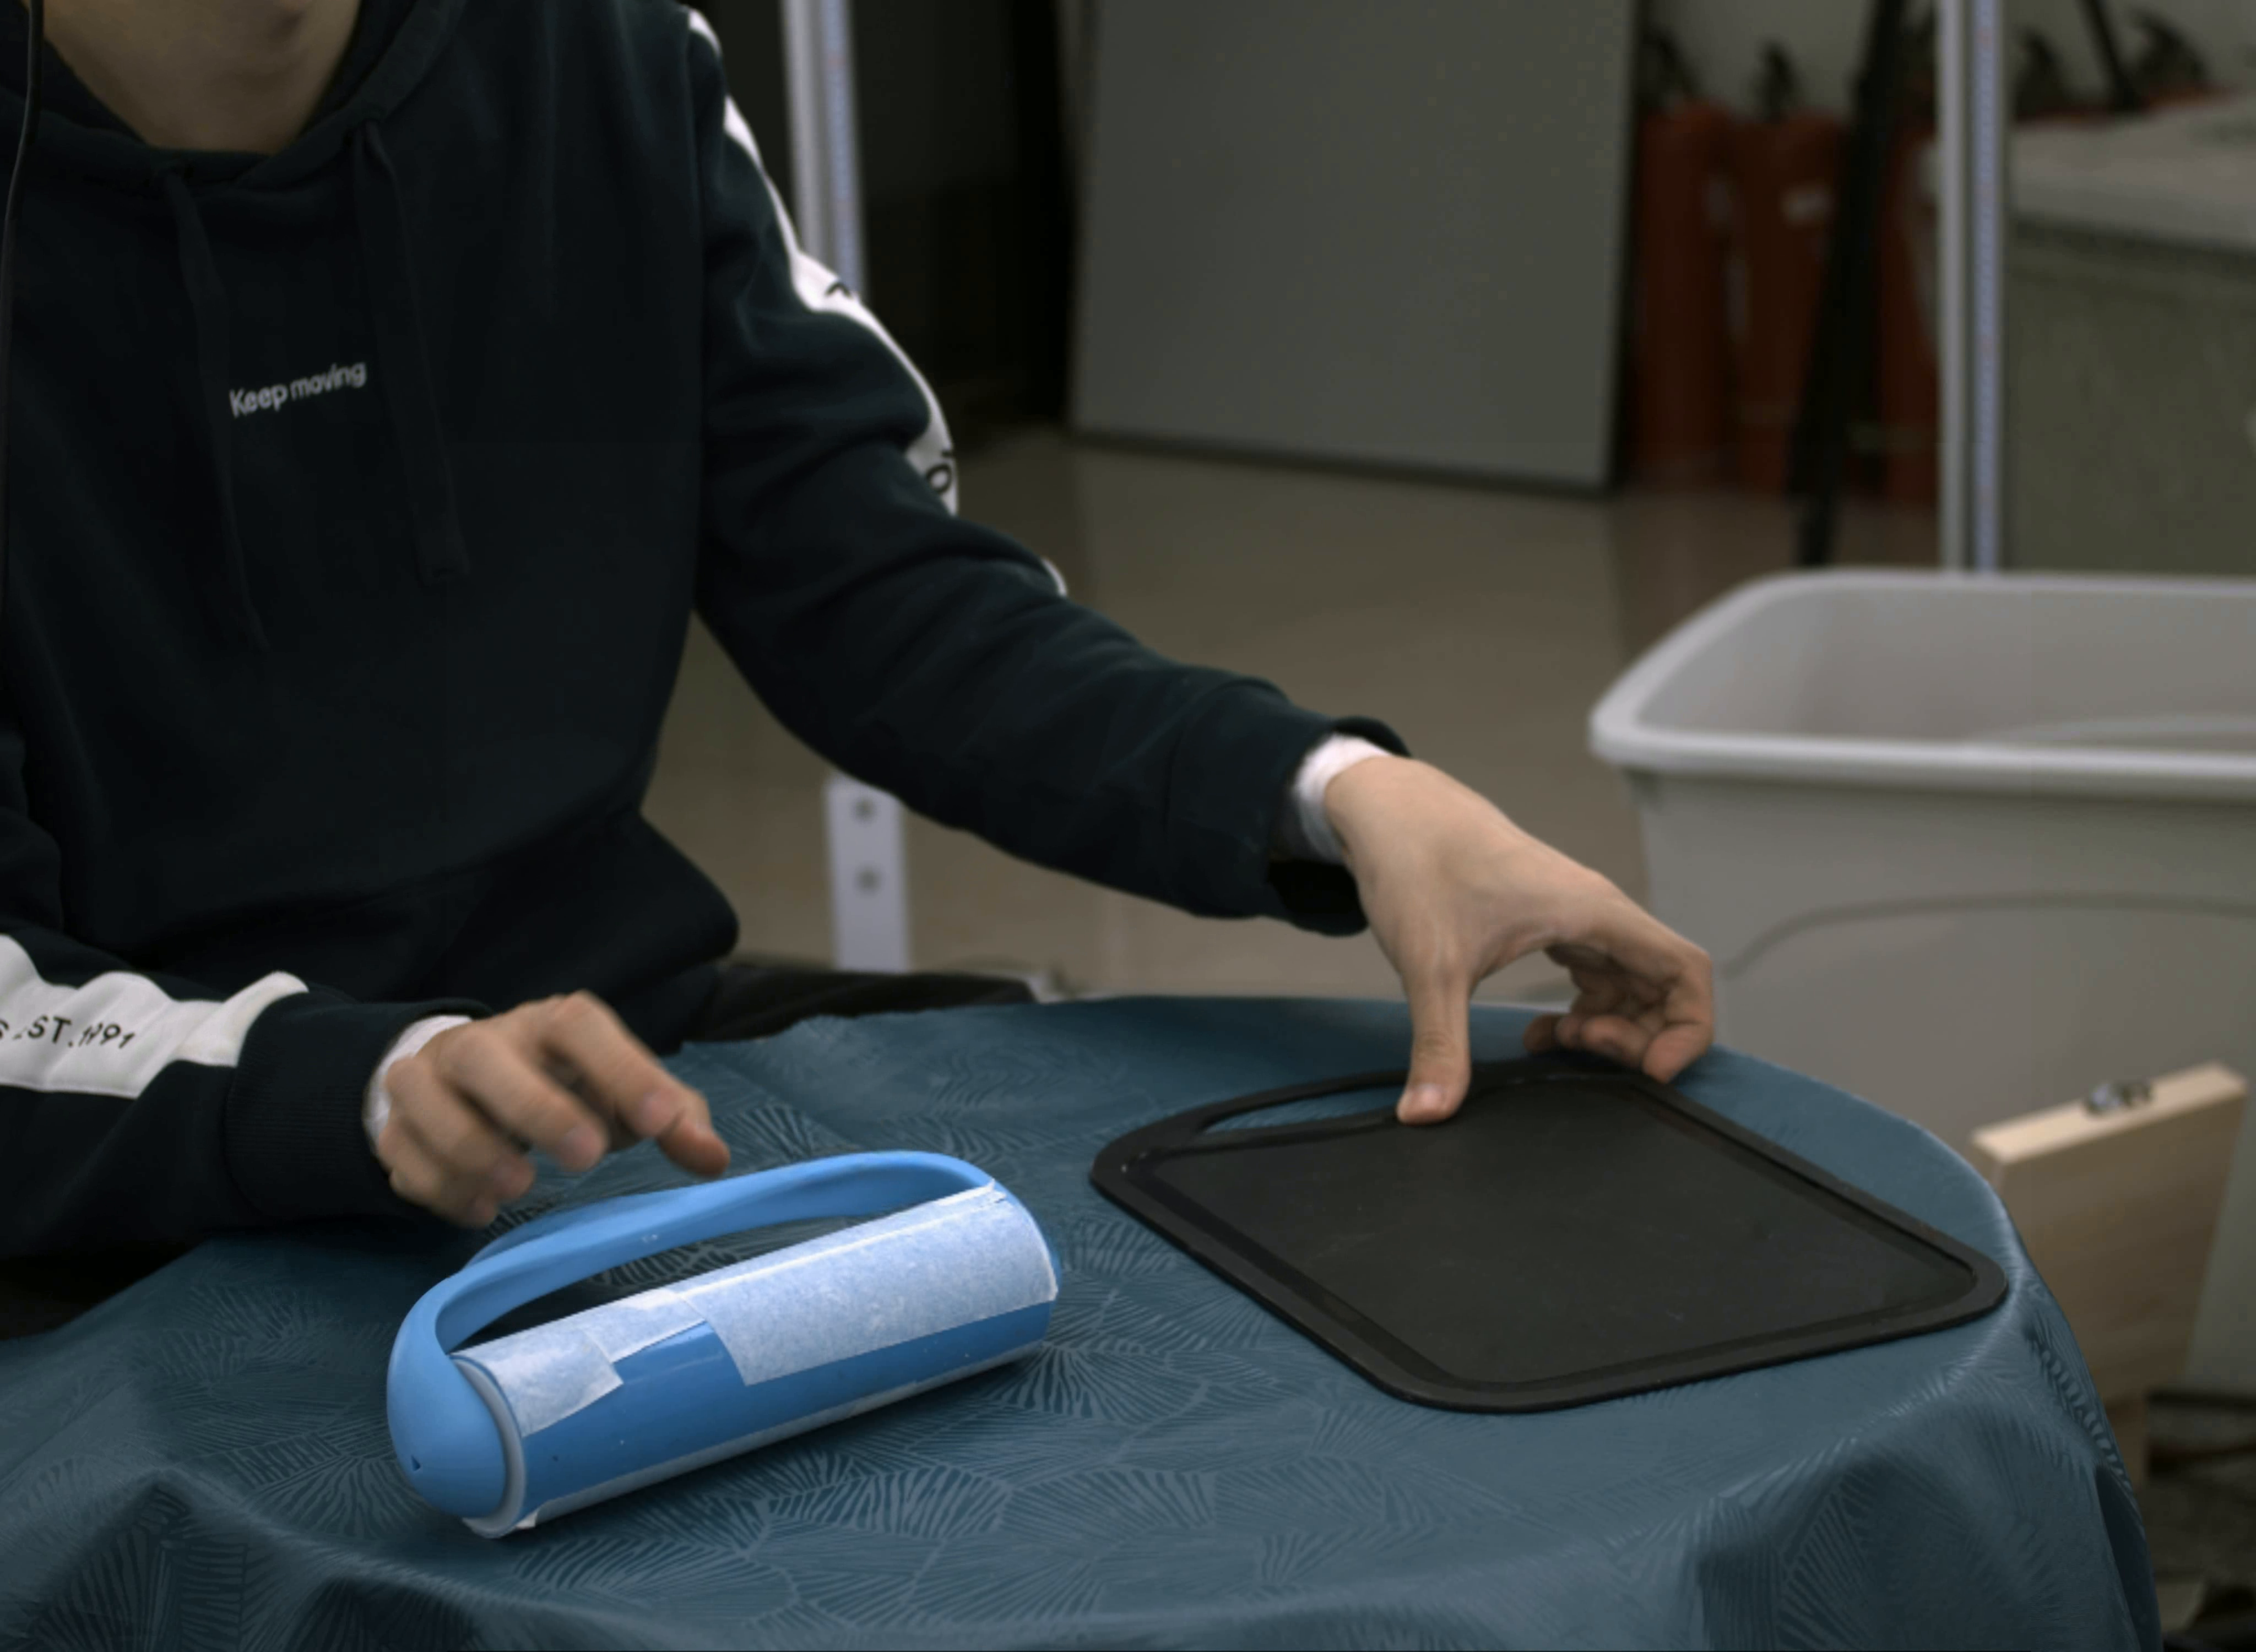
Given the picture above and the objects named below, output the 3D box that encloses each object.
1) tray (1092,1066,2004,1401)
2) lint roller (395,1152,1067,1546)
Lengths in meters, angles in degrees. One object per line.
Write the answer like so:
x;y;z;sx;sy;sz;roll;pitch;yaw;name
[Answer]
0.122;0.123;1.715;0.207;0.010;0.328;-9;15;-20;tray
-0.149;0.144;1.604;0.224;0.068;0.182;-18;21;-39;lint roller
